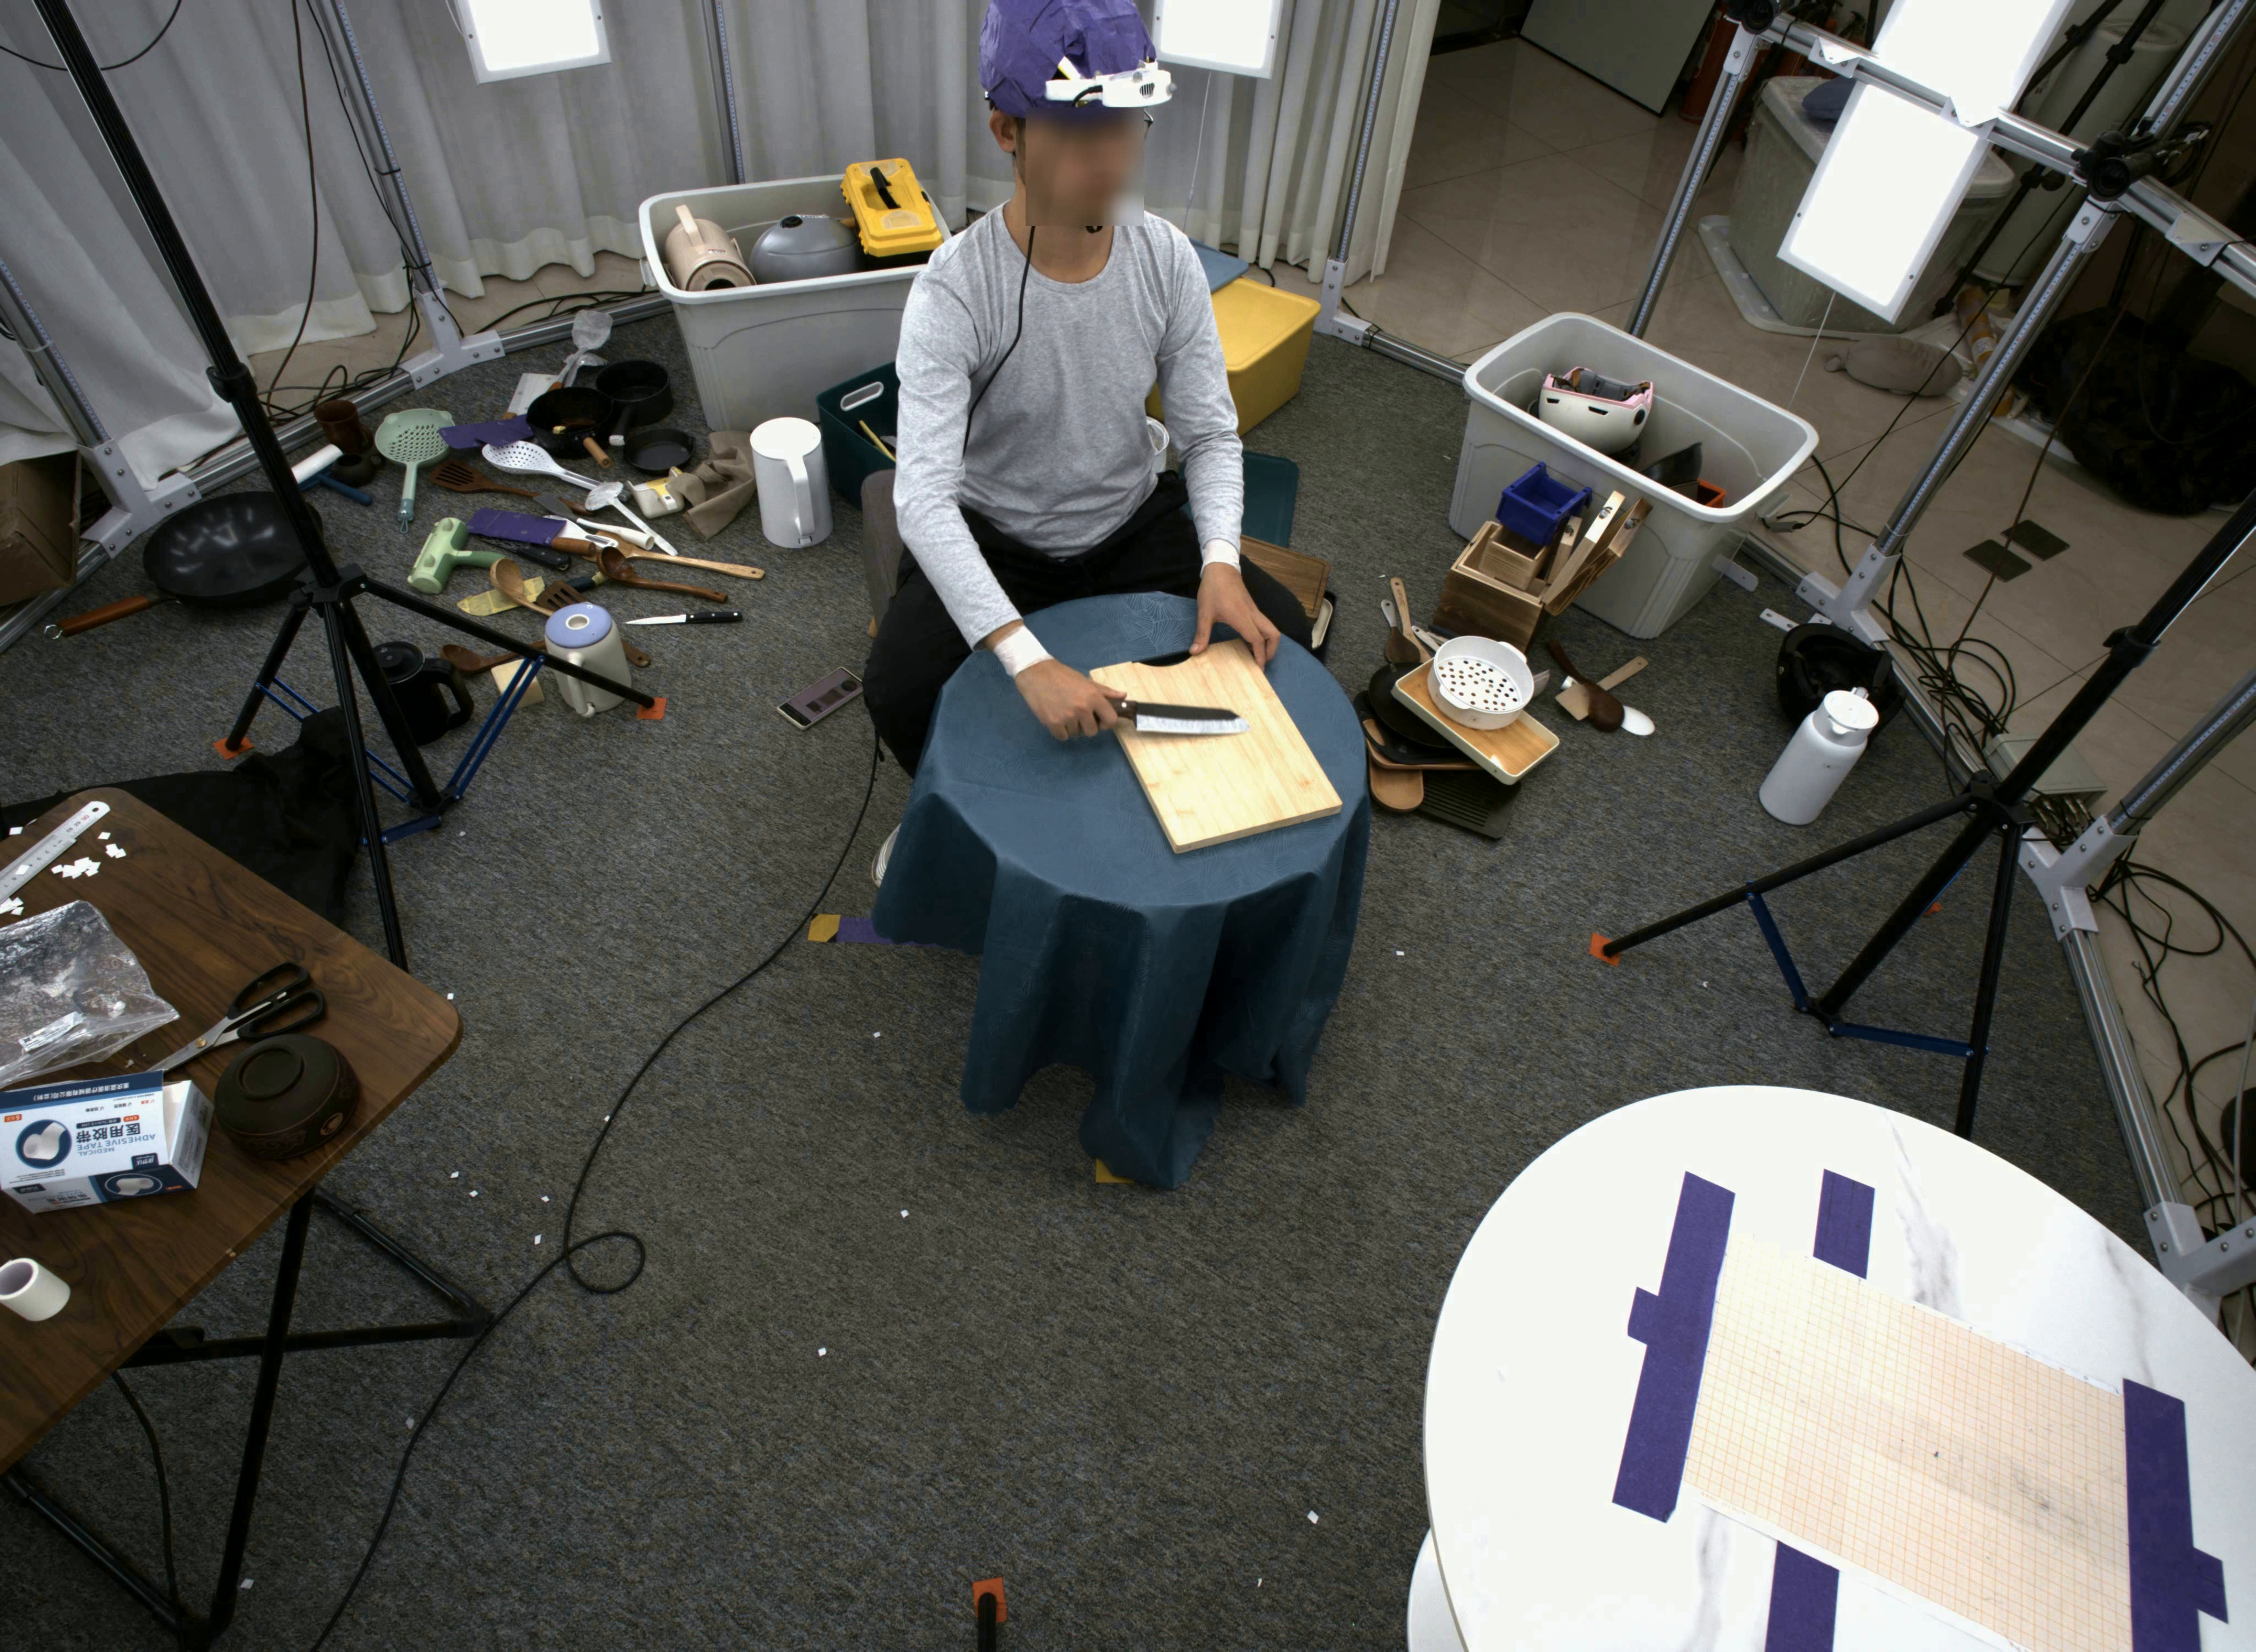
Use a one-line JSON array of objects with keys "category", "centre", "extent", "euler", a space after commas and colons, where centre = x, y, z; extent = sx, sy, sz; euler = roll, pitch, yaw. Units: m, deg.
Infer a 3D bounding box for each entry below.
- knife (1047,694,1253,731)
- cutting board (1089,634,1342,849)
[{"category": "knife", "centre": [0.032, -0.154, 1.751], "extent": [0.288, 0.019, 0.051], "euler": [4, 64, -11]}, {"category": "cutting board", "centre": [0.113, -0.124, 1.772], "extent": [0.251, 0.023, 0.357], "euler": [-14, 51, -16]}]
